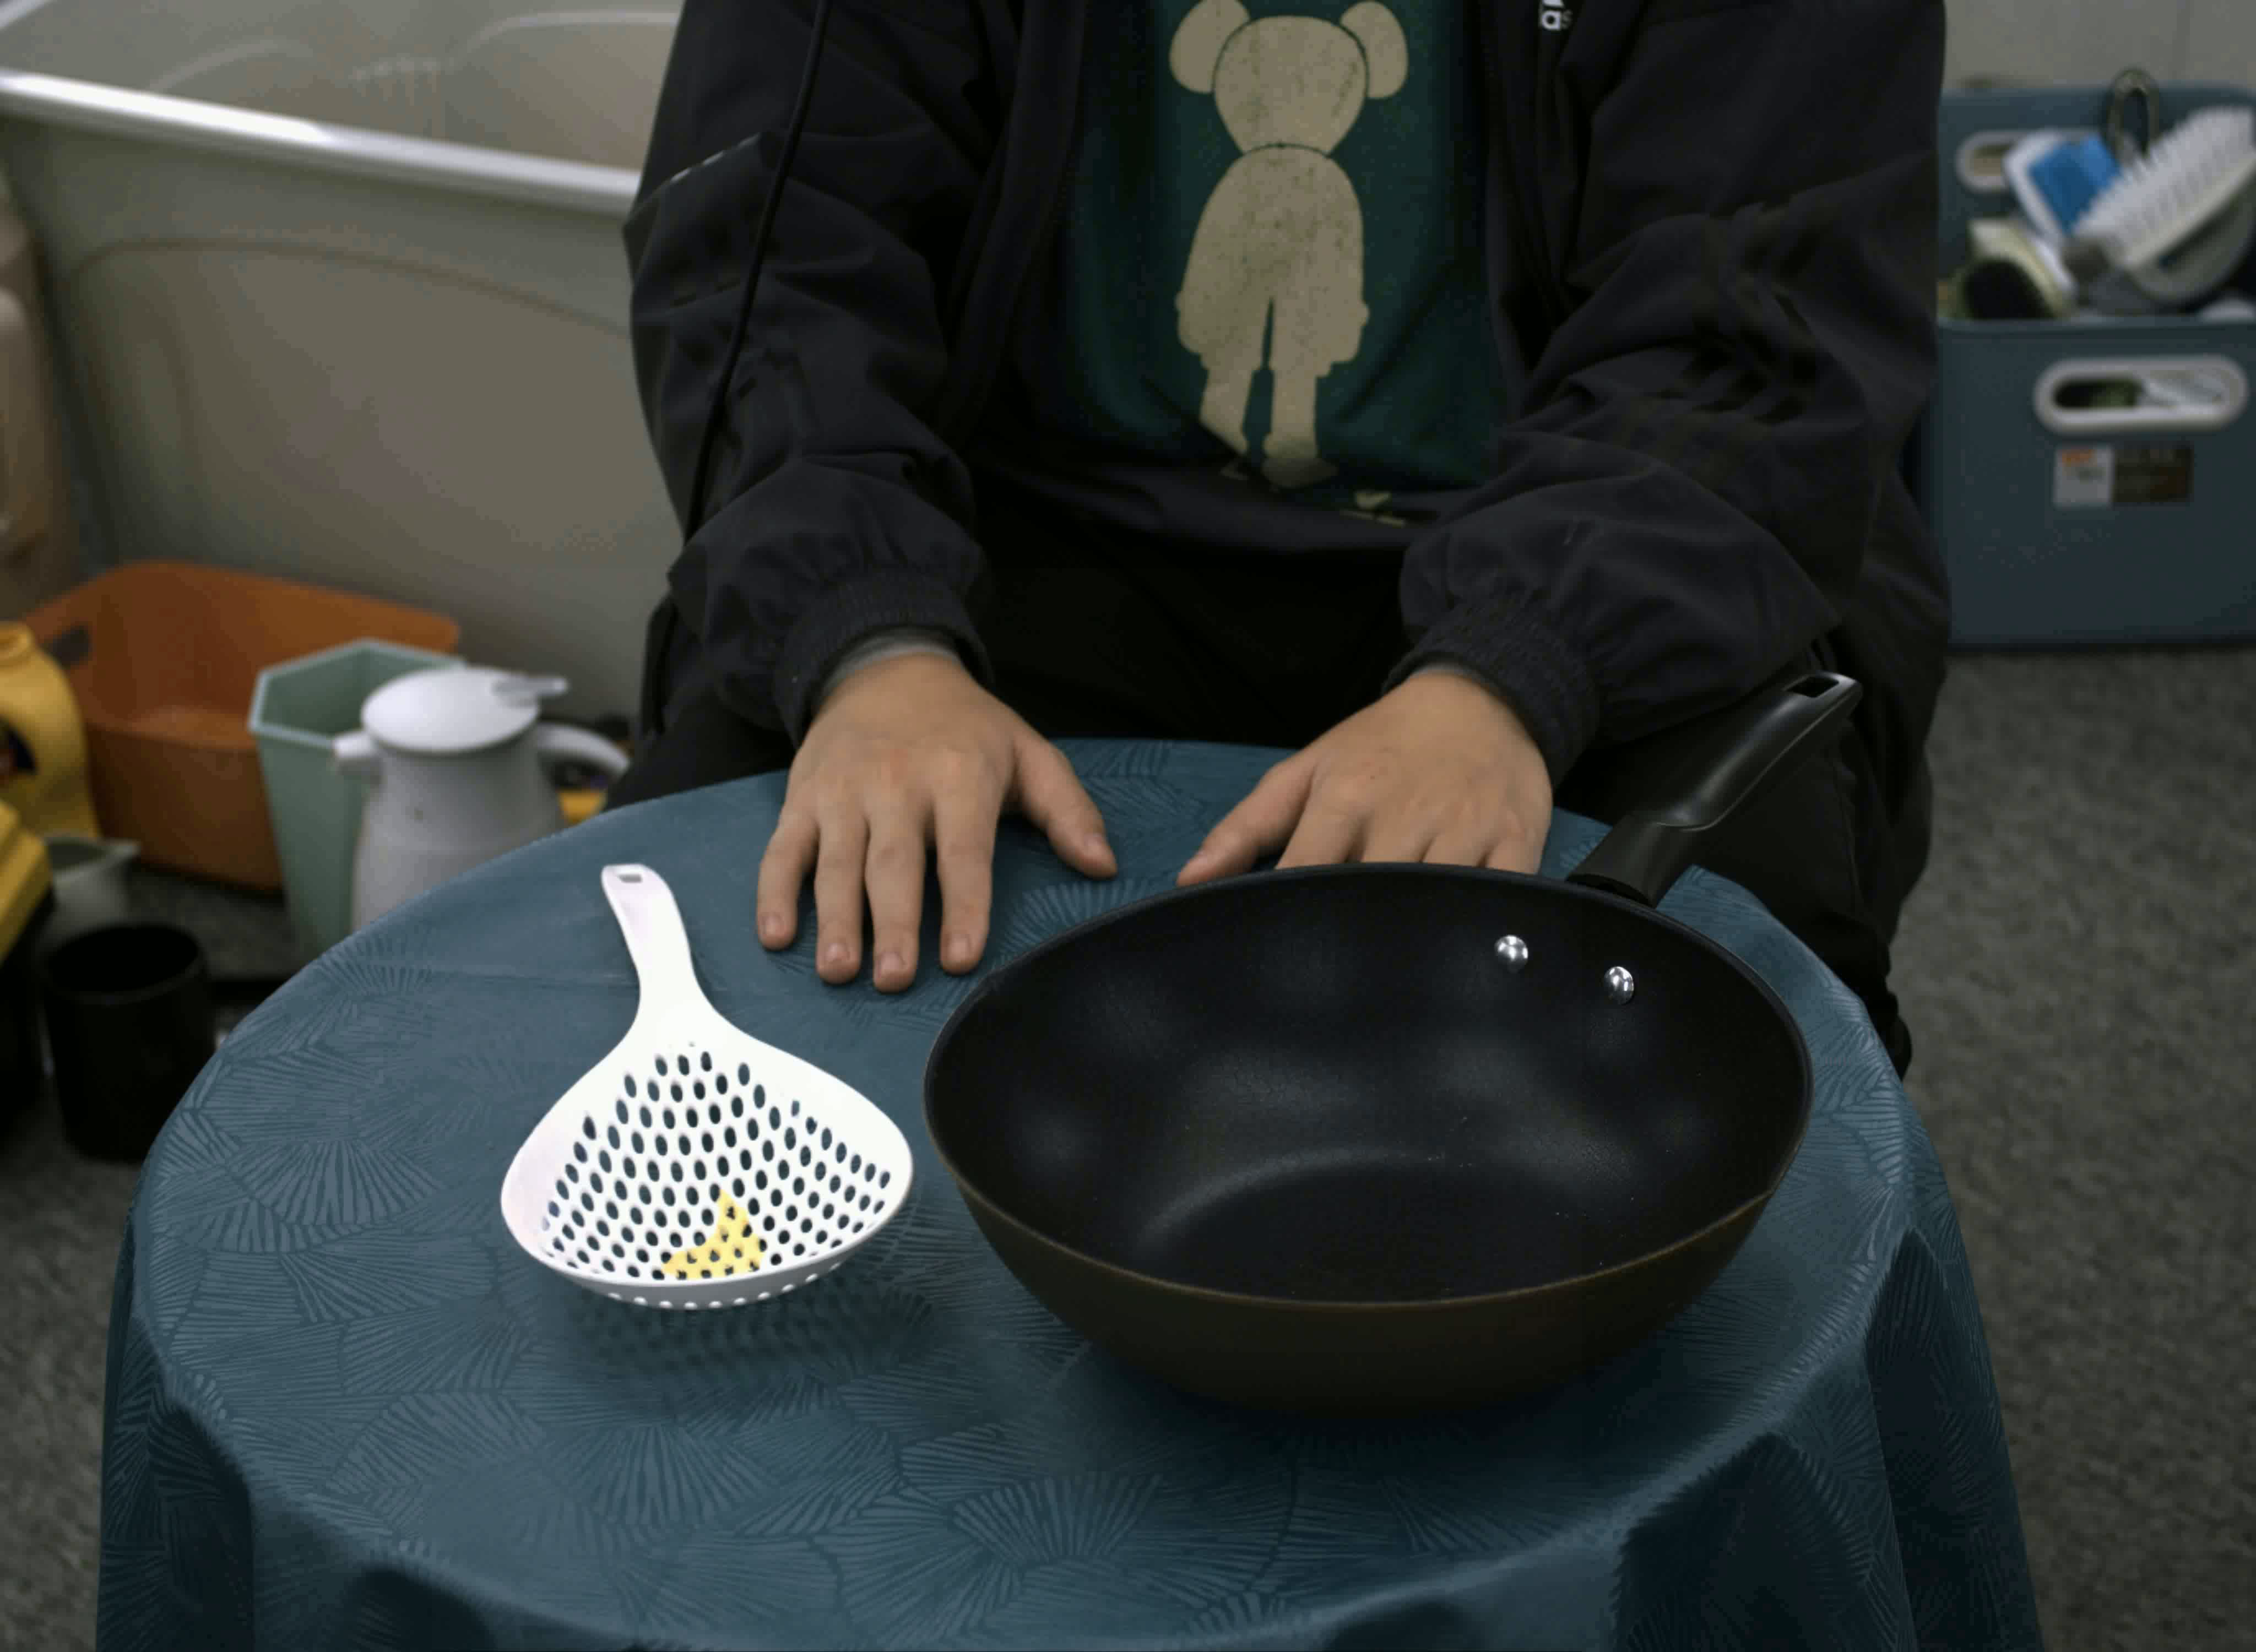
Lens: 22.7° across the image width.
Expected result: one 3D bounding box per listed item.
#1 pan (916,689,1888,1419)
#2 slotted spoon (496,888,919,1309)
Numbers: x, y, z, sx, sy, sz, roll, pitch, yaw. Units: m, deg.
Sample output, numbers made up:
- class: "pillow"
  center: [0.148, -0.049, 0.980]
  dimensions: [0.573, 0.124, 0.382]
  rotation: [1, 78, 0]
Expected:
- class: "pan"
  center: [0.125, 0.073, 1.851]
  dimensions: [0.287, 0.086, 0.470]
  rotation: [15, 31, 30]
- class: "slotted spoon"
  center: [-0.153, 0.080, 1.910]
  dimensions: [0.136, 0.050, 0.352]
  rotation: [-8, 27, -7]
